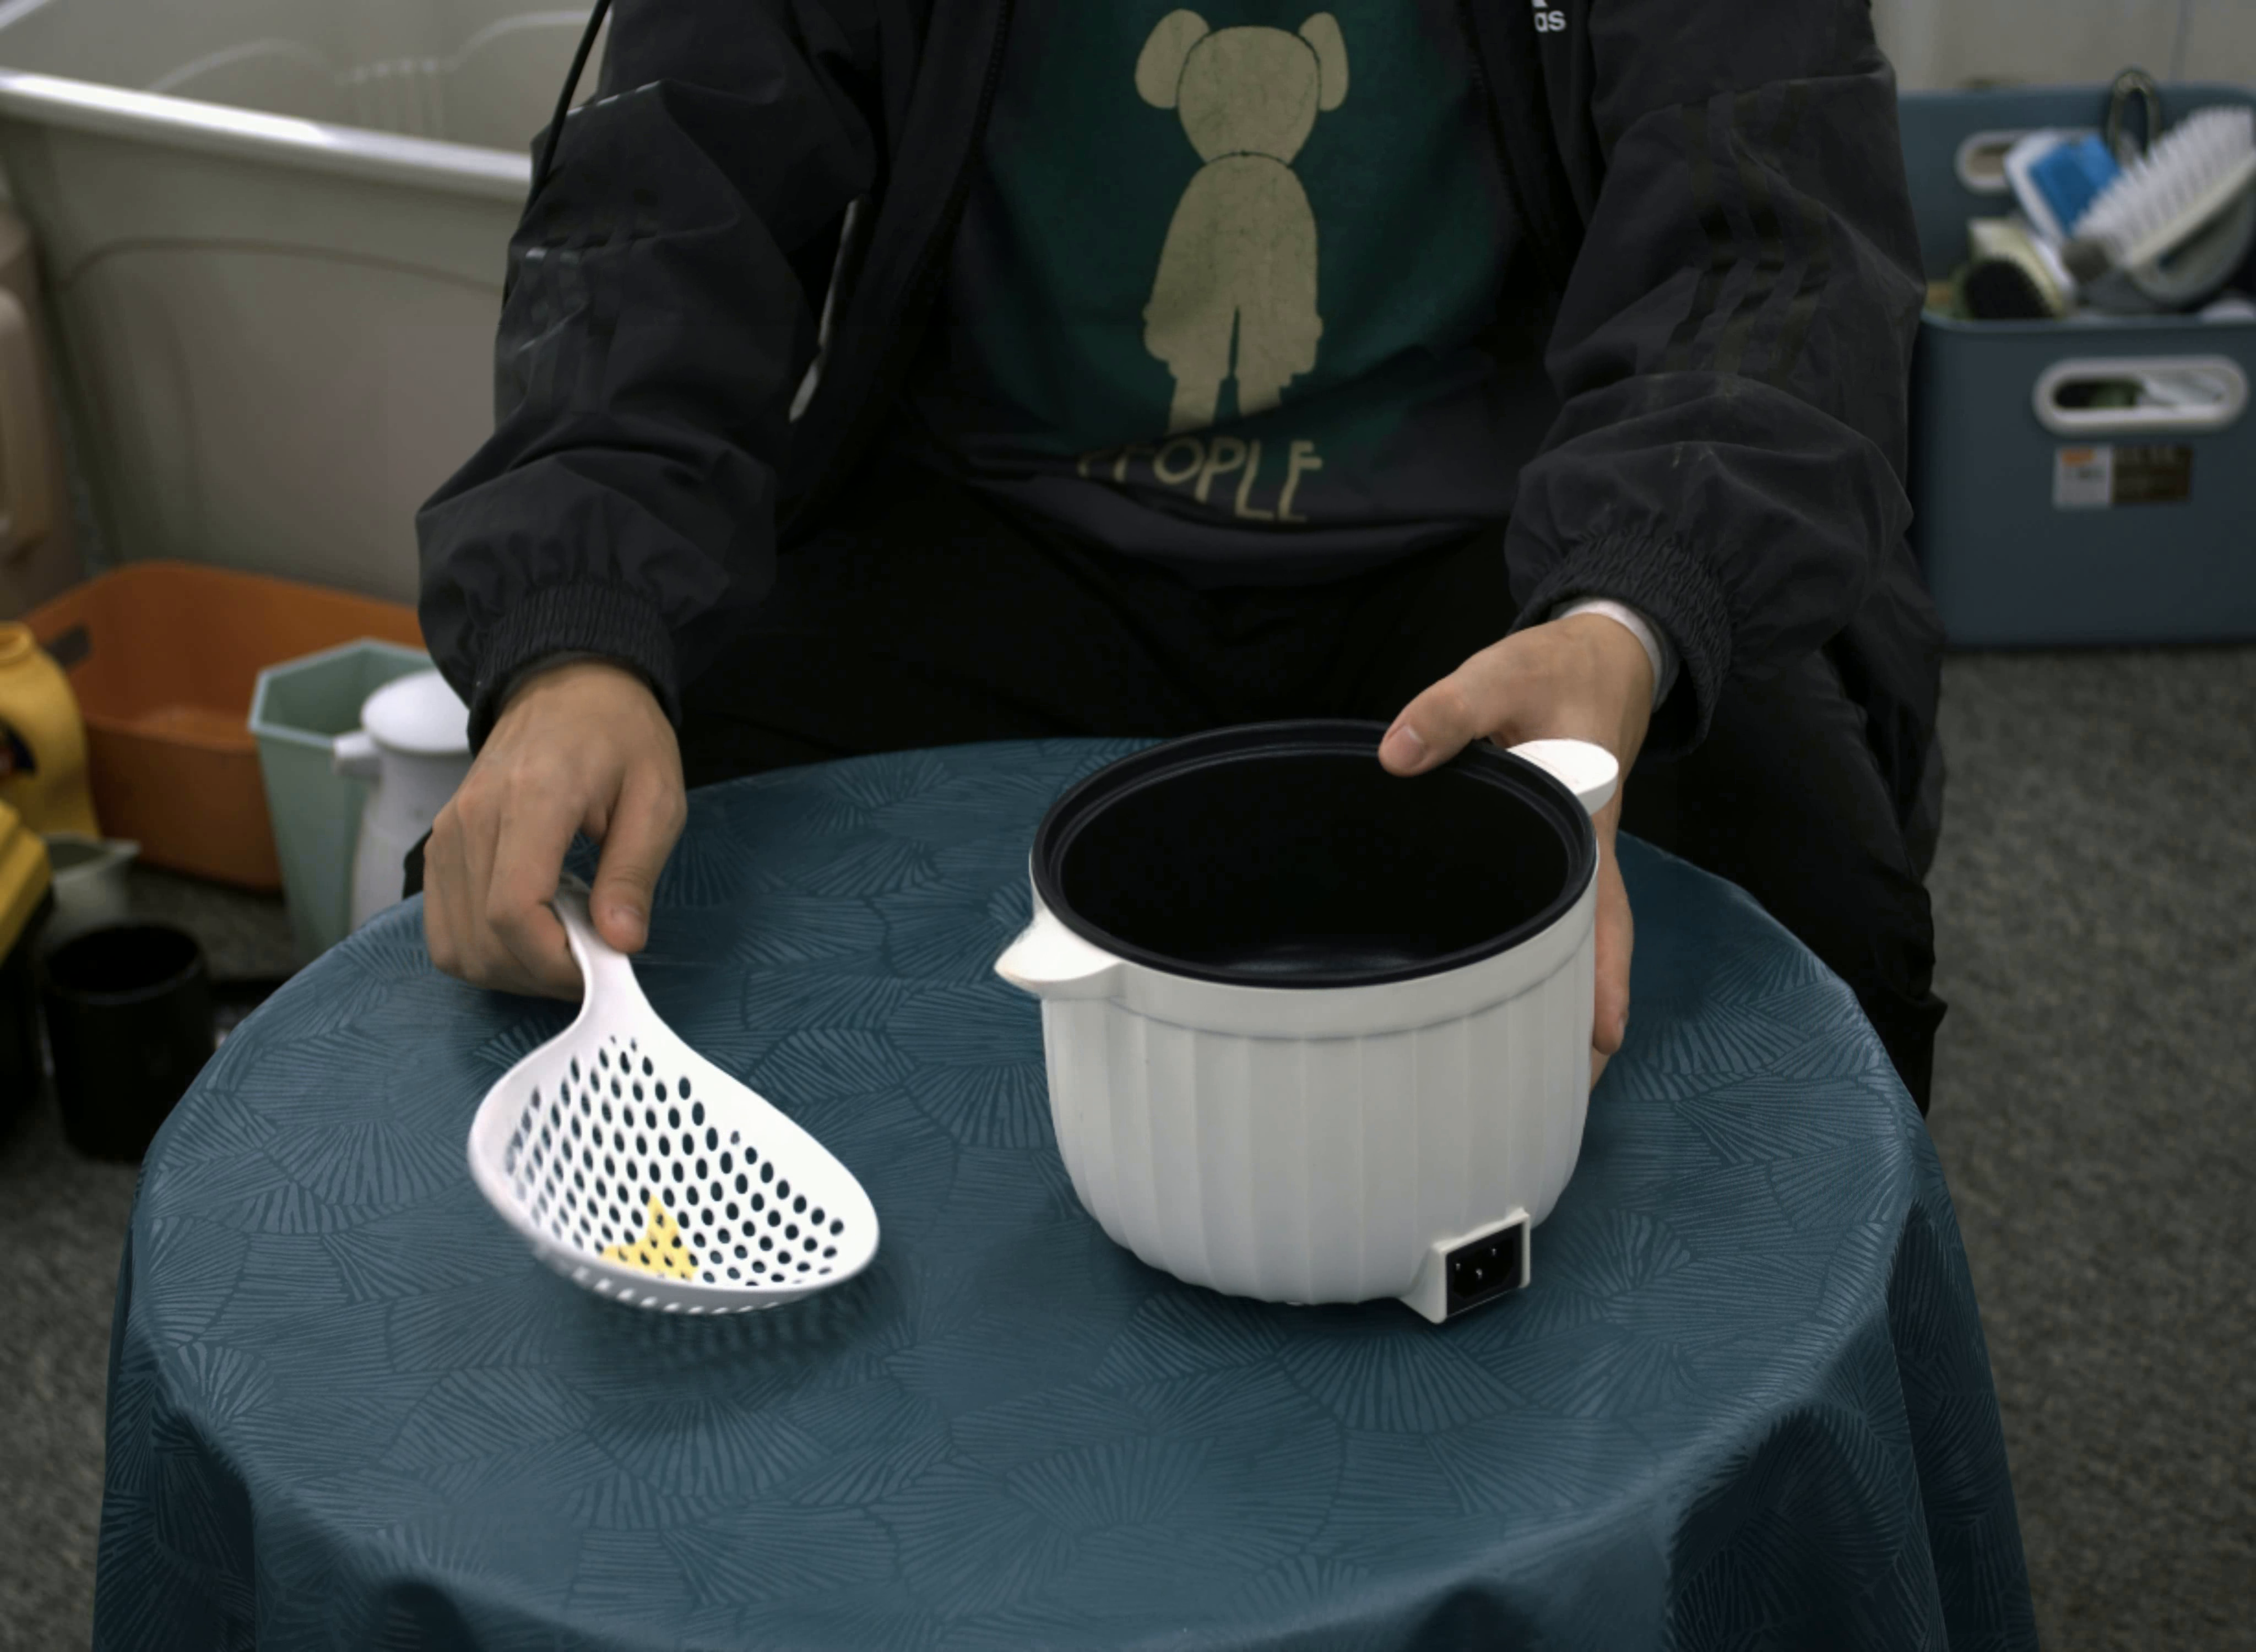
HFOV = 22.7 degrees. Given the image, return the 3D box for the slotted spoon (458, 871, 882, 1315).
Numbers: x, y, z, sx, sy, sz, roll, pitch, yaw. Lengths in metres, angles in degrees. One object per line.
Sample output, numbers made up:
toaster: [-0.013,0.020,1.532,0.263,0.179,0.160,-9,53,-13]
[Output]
slotted spoon: [-0.175,0.079,1.903,0.136,0.050,0.352,4,27,-16]

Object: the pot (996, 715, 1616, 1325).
pot: [0.057,0.063,1.816,0.242,0.141,0.191,-18,34,-32]
